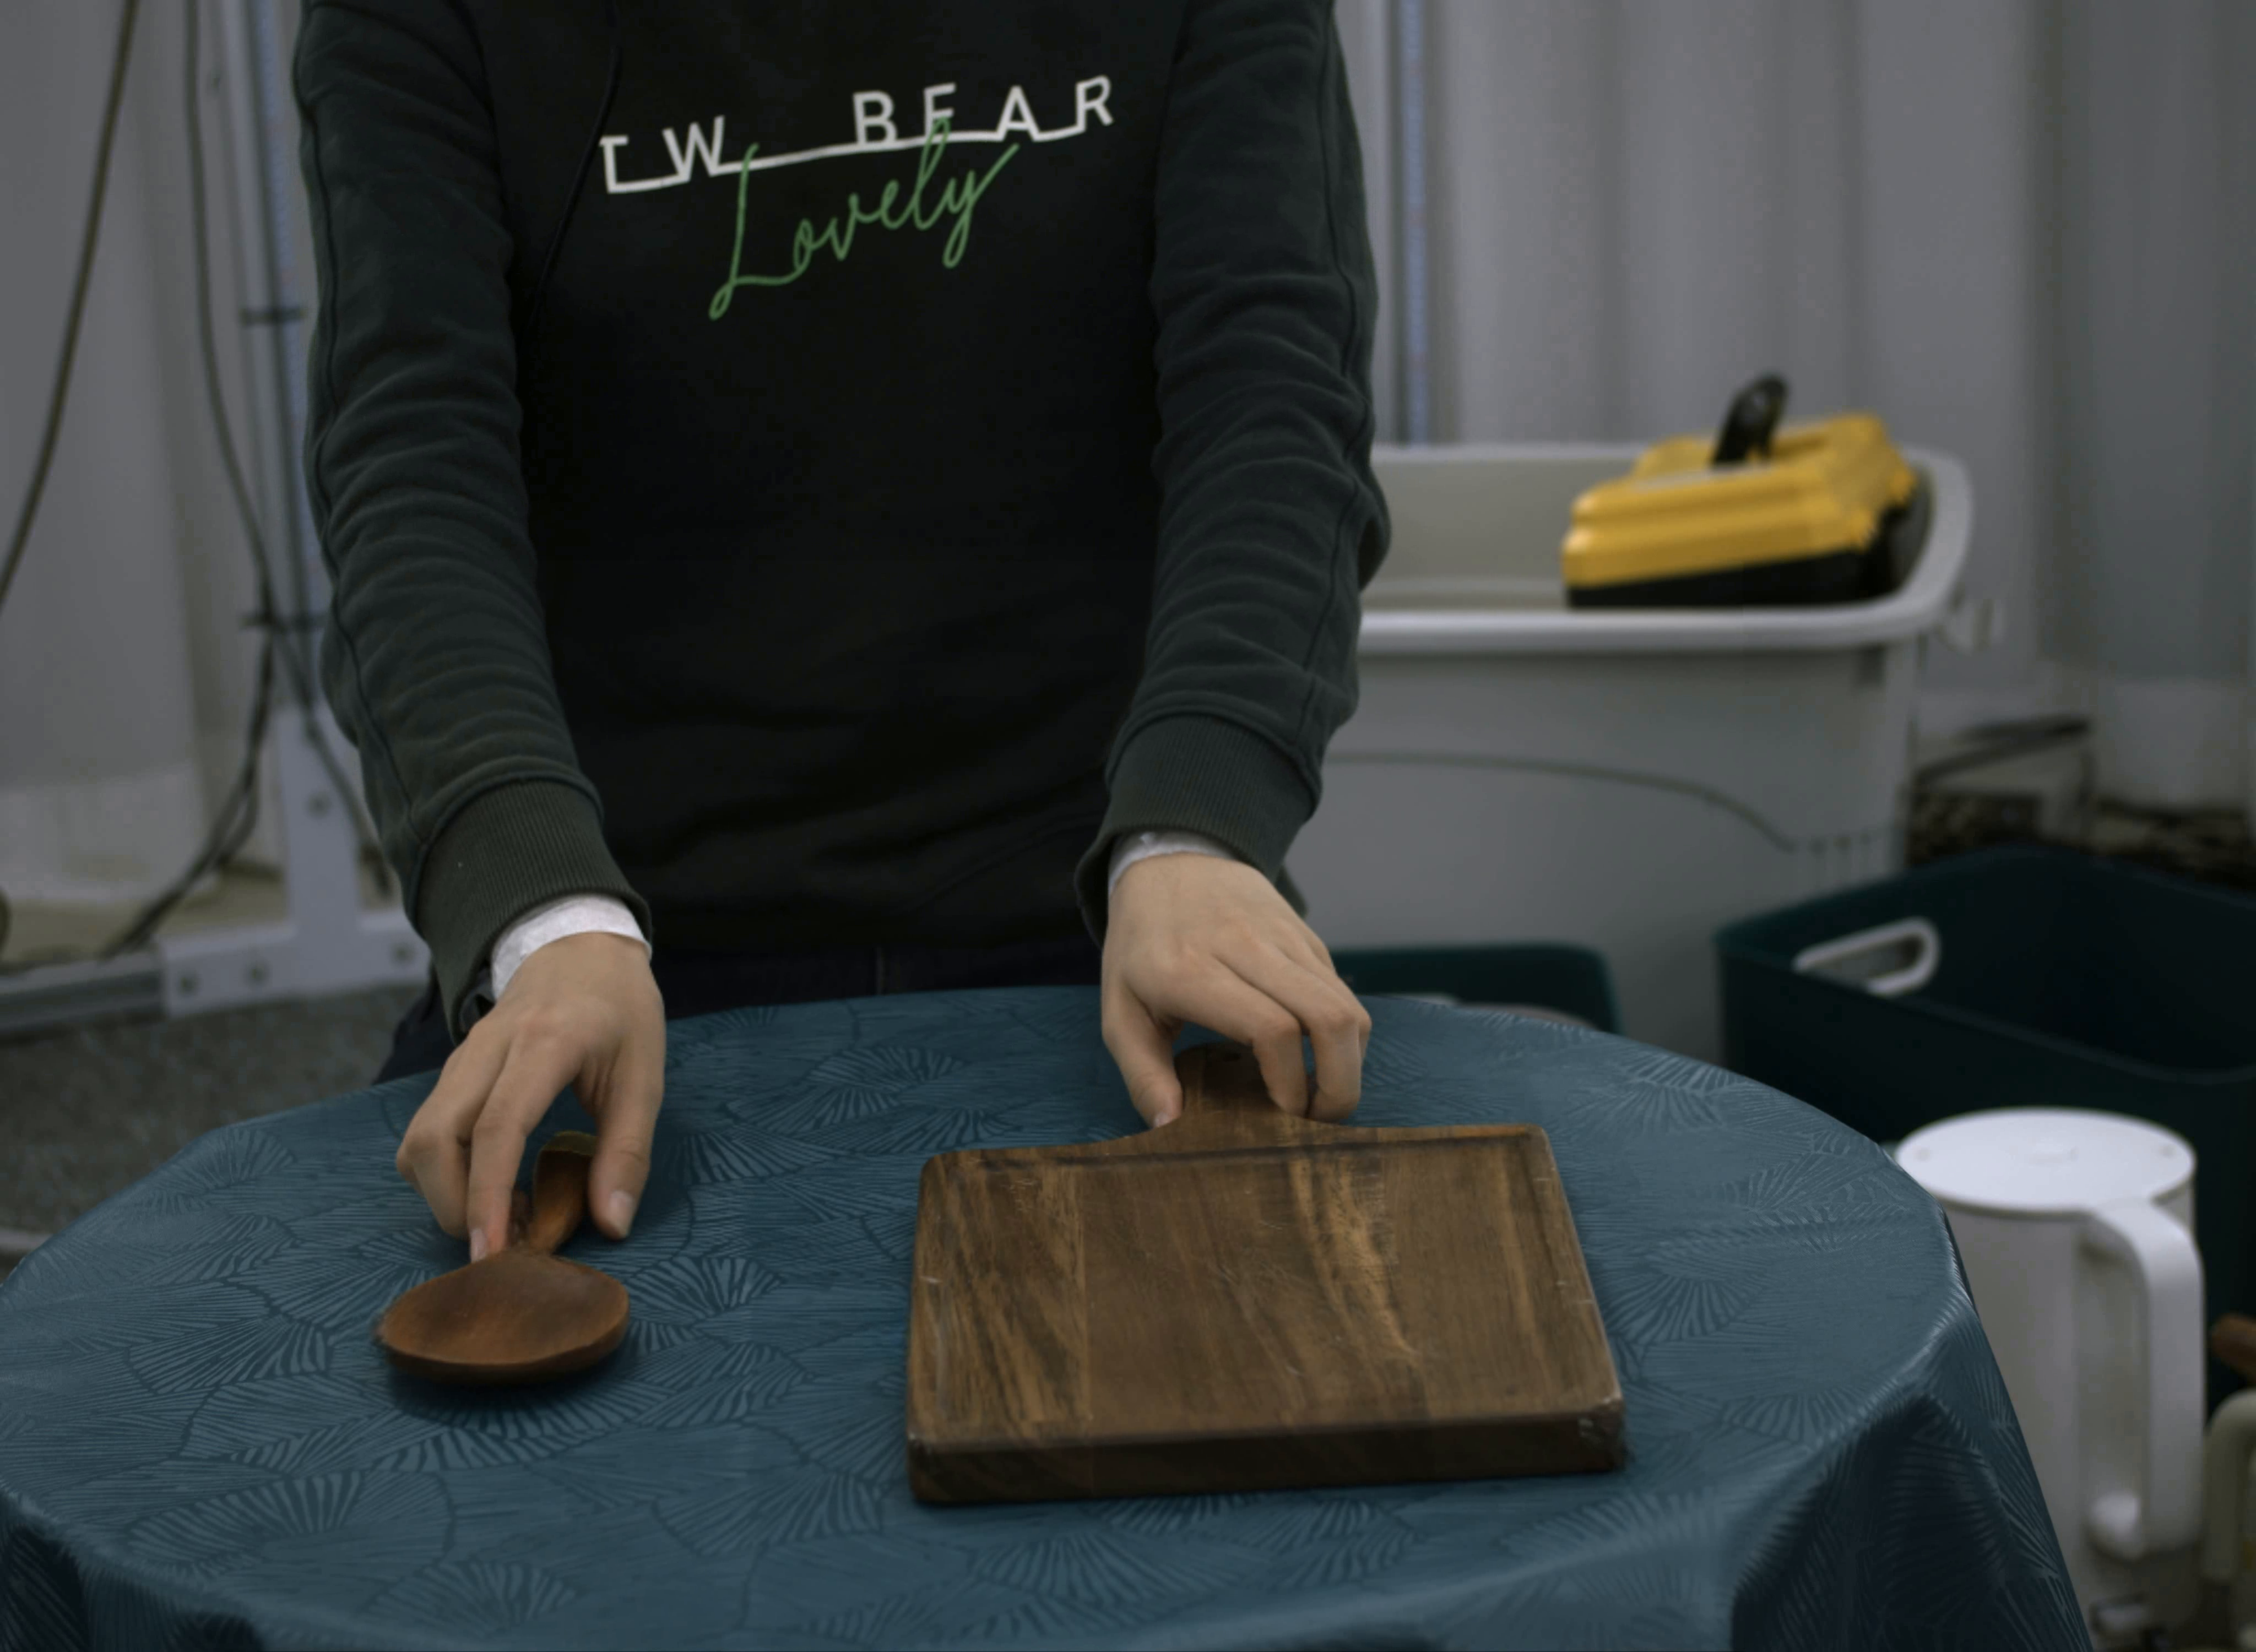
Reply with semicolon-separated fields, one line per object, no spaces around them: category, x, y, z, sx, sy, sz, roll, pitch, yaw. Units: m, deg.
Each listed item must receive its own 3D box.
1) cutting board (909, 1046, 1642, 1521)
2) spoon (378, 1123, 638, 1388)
cutting board;0.035;0.127;1.631;0.200;0.023;0.354;-4;15;0
spoon;-0.178;0.131;1.653;0.075;0.017;0.217;-4;15;3
